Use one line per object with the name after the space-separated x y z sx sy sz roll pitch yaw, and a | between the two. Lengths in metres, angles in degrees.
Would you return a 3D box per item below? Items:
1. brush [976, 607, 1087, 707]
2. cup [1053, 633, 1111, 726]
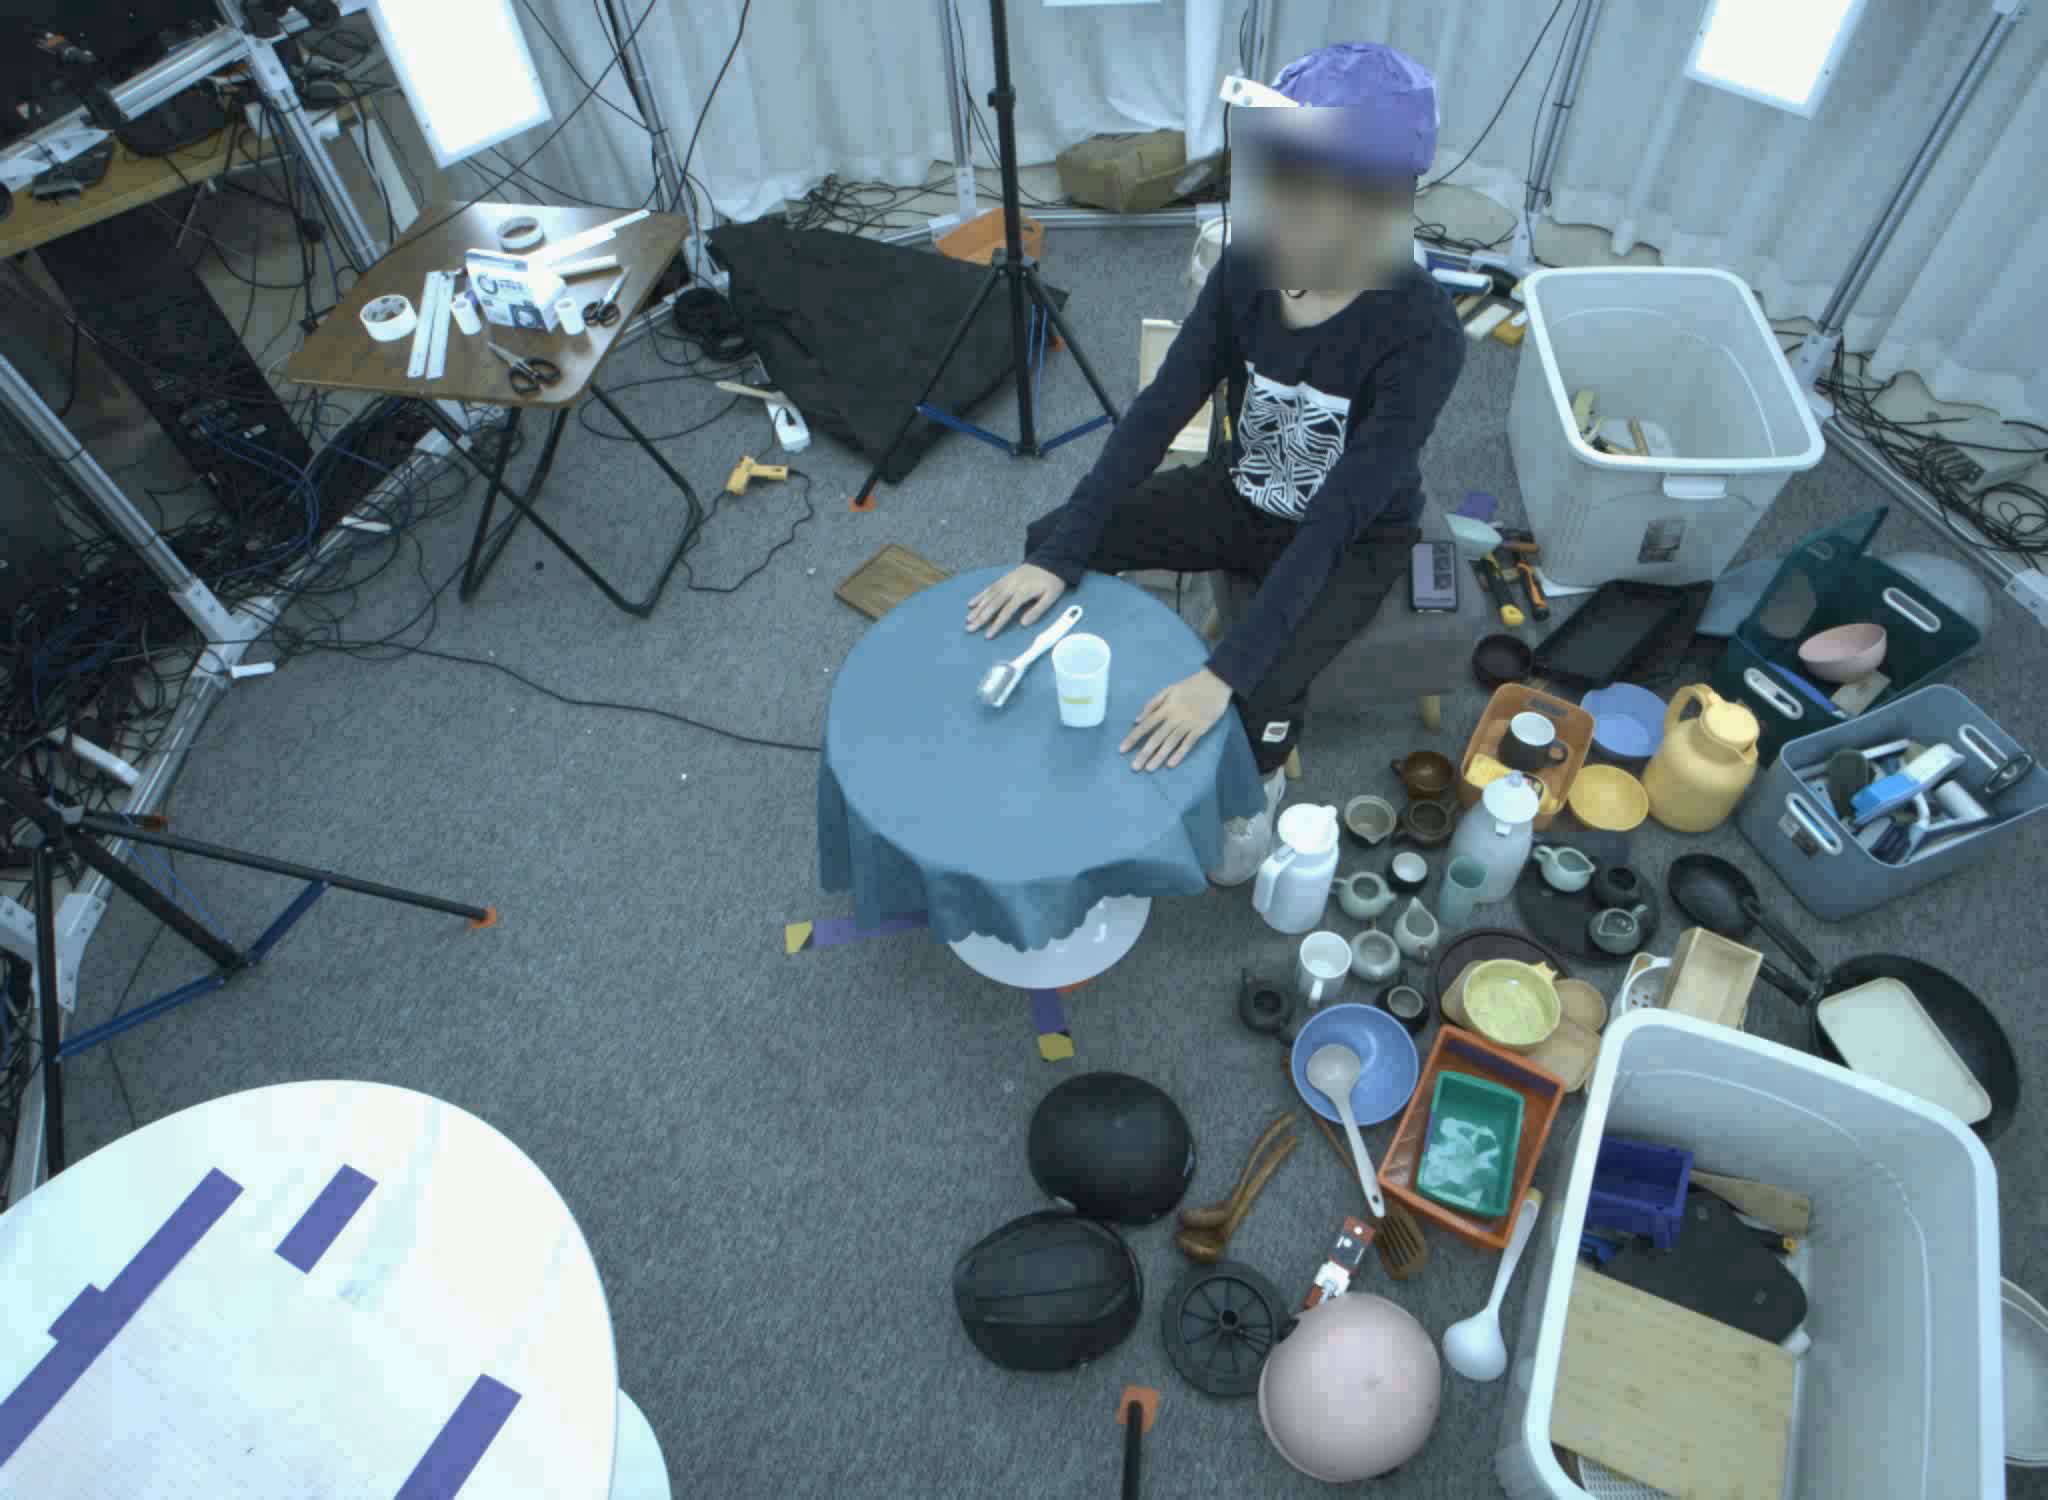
0.015 -0.154 1.860 0.034 0.051 0.245 31 61 26 | brush
0.084 -0.097 1.770 0.081 0.127 0.081 0 54 2 | cup
